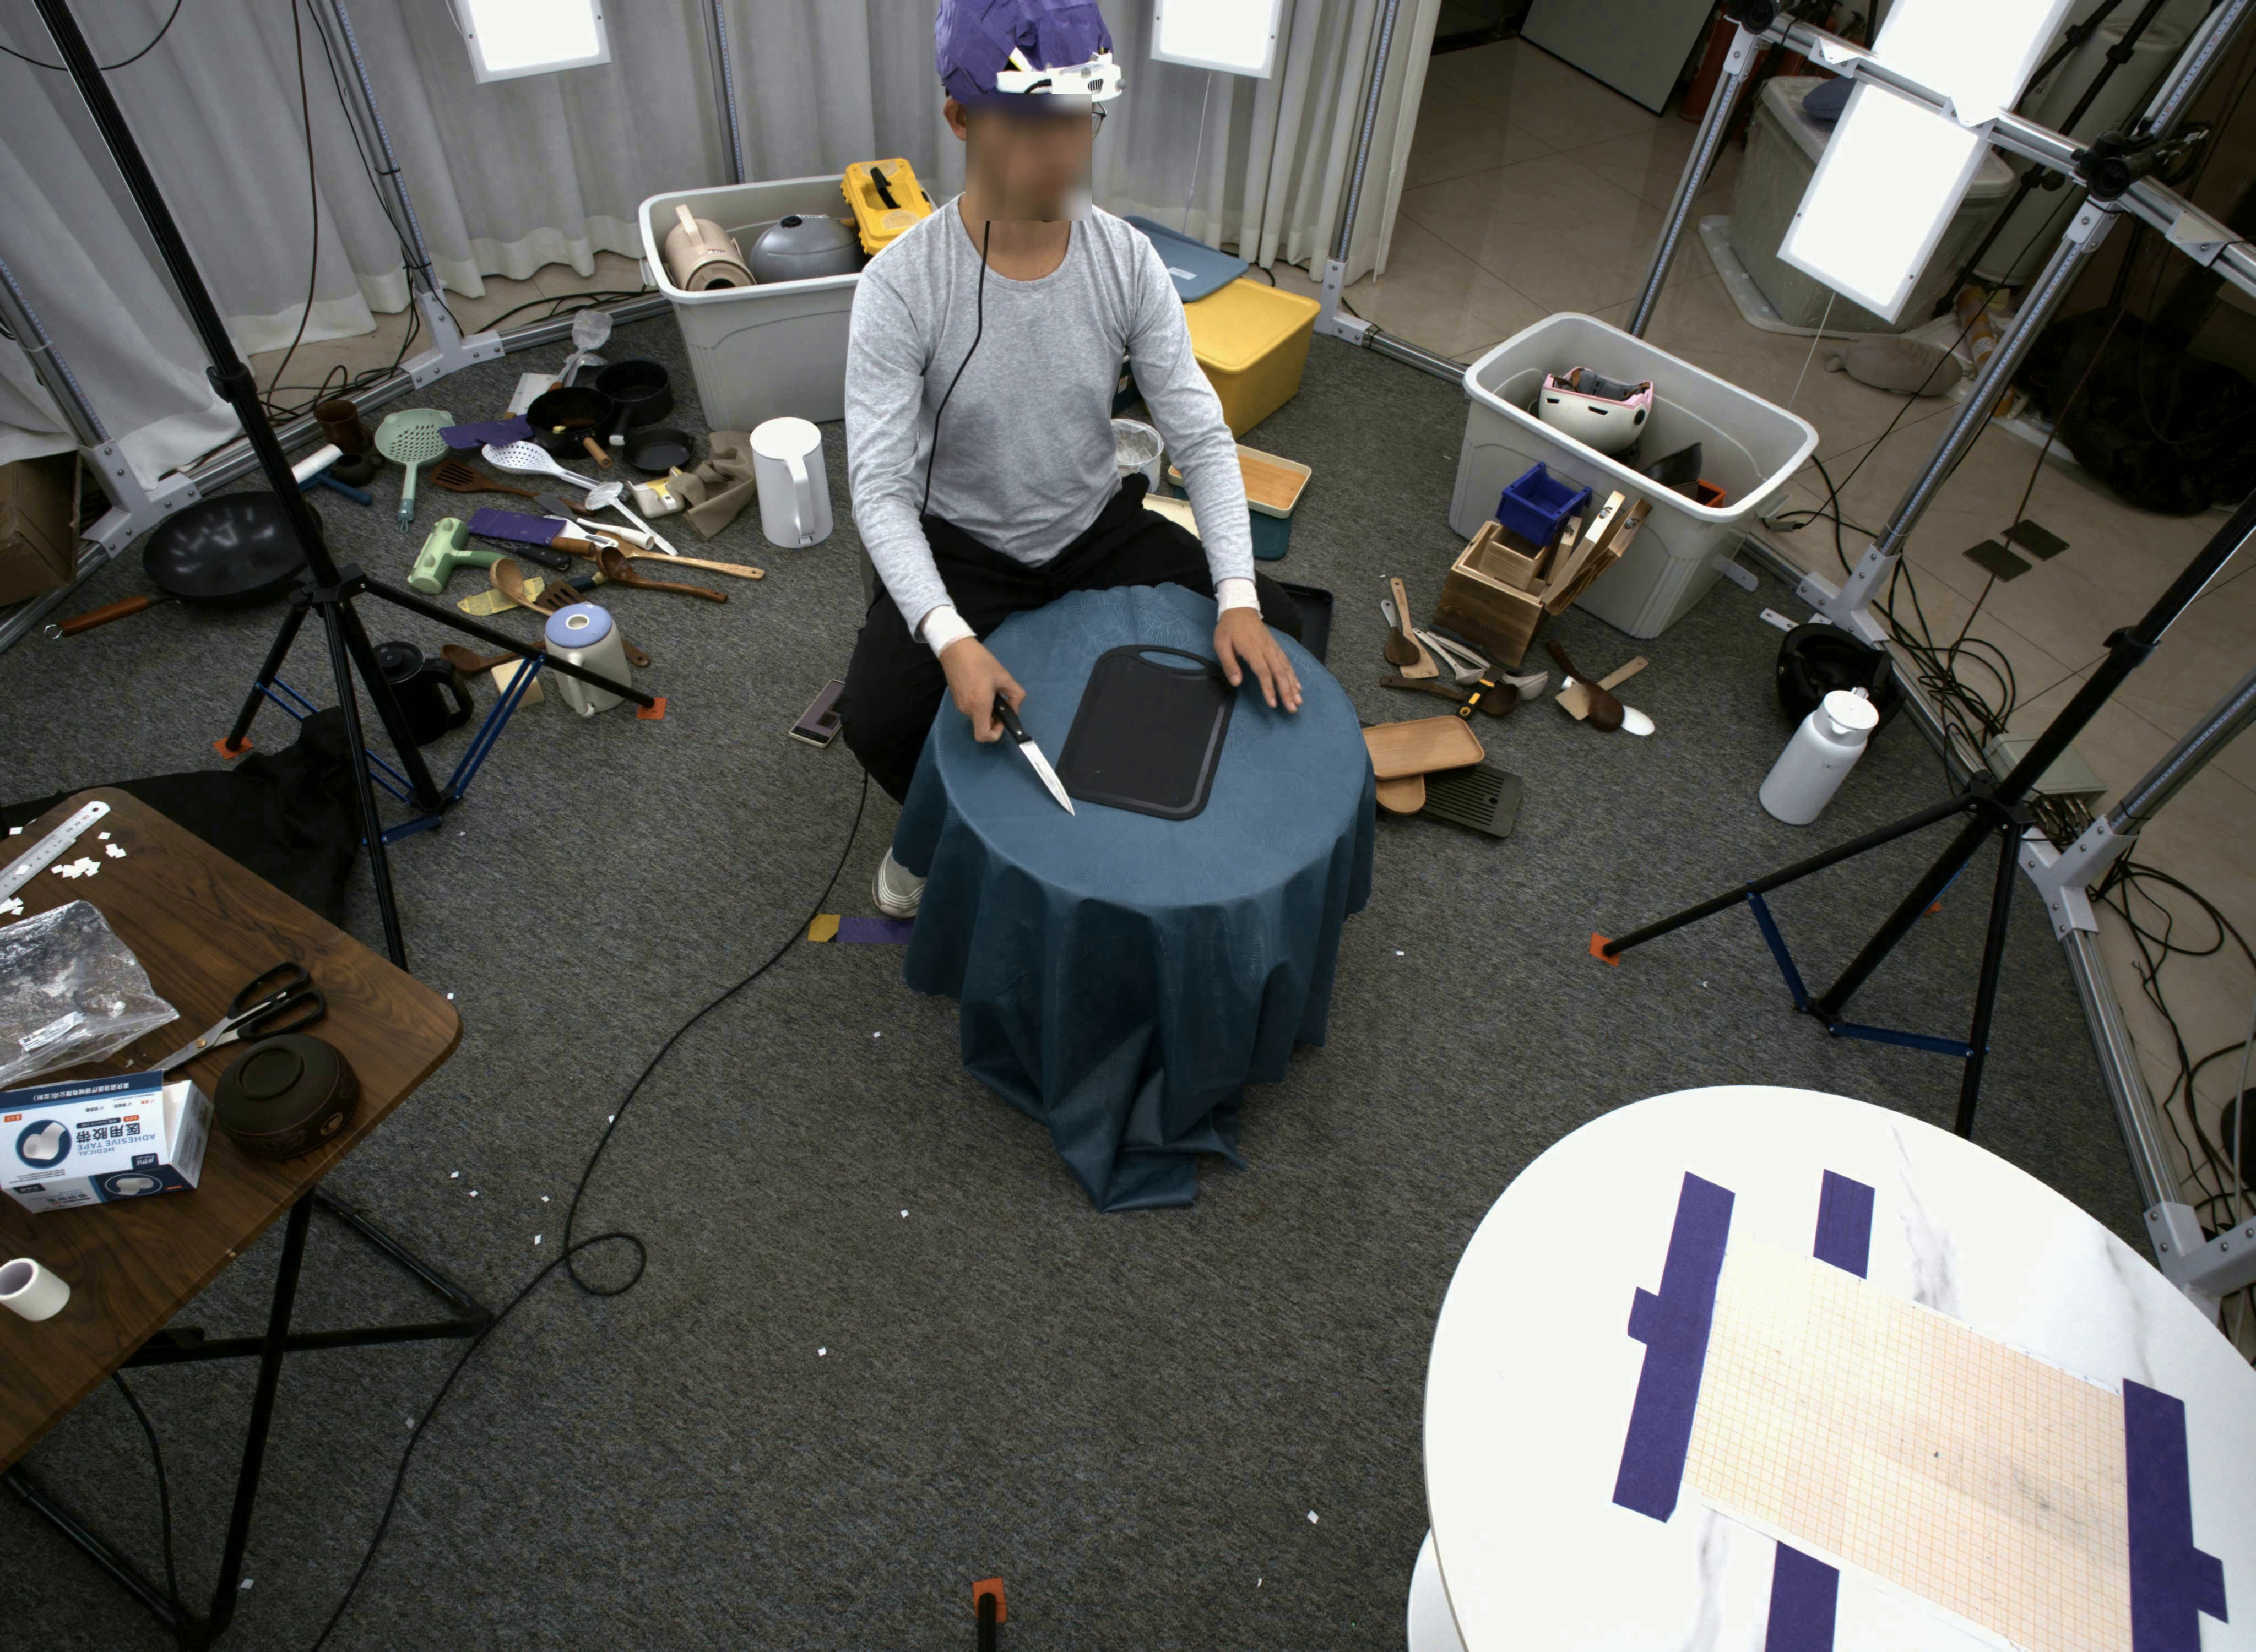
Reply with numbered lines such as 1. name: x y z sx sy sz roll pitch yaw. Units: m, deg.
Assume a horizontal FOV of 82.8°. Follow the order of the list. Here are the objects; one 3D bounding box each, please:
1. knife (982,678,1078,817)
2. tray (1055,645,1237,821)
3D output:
1. knife: -0.133 -0.104 1.714 0.024 0.016 0.242 -25 68 -24
2. tray: 0.031 -0.144 1.790 0.211 0.009 0.332 13 49 7
